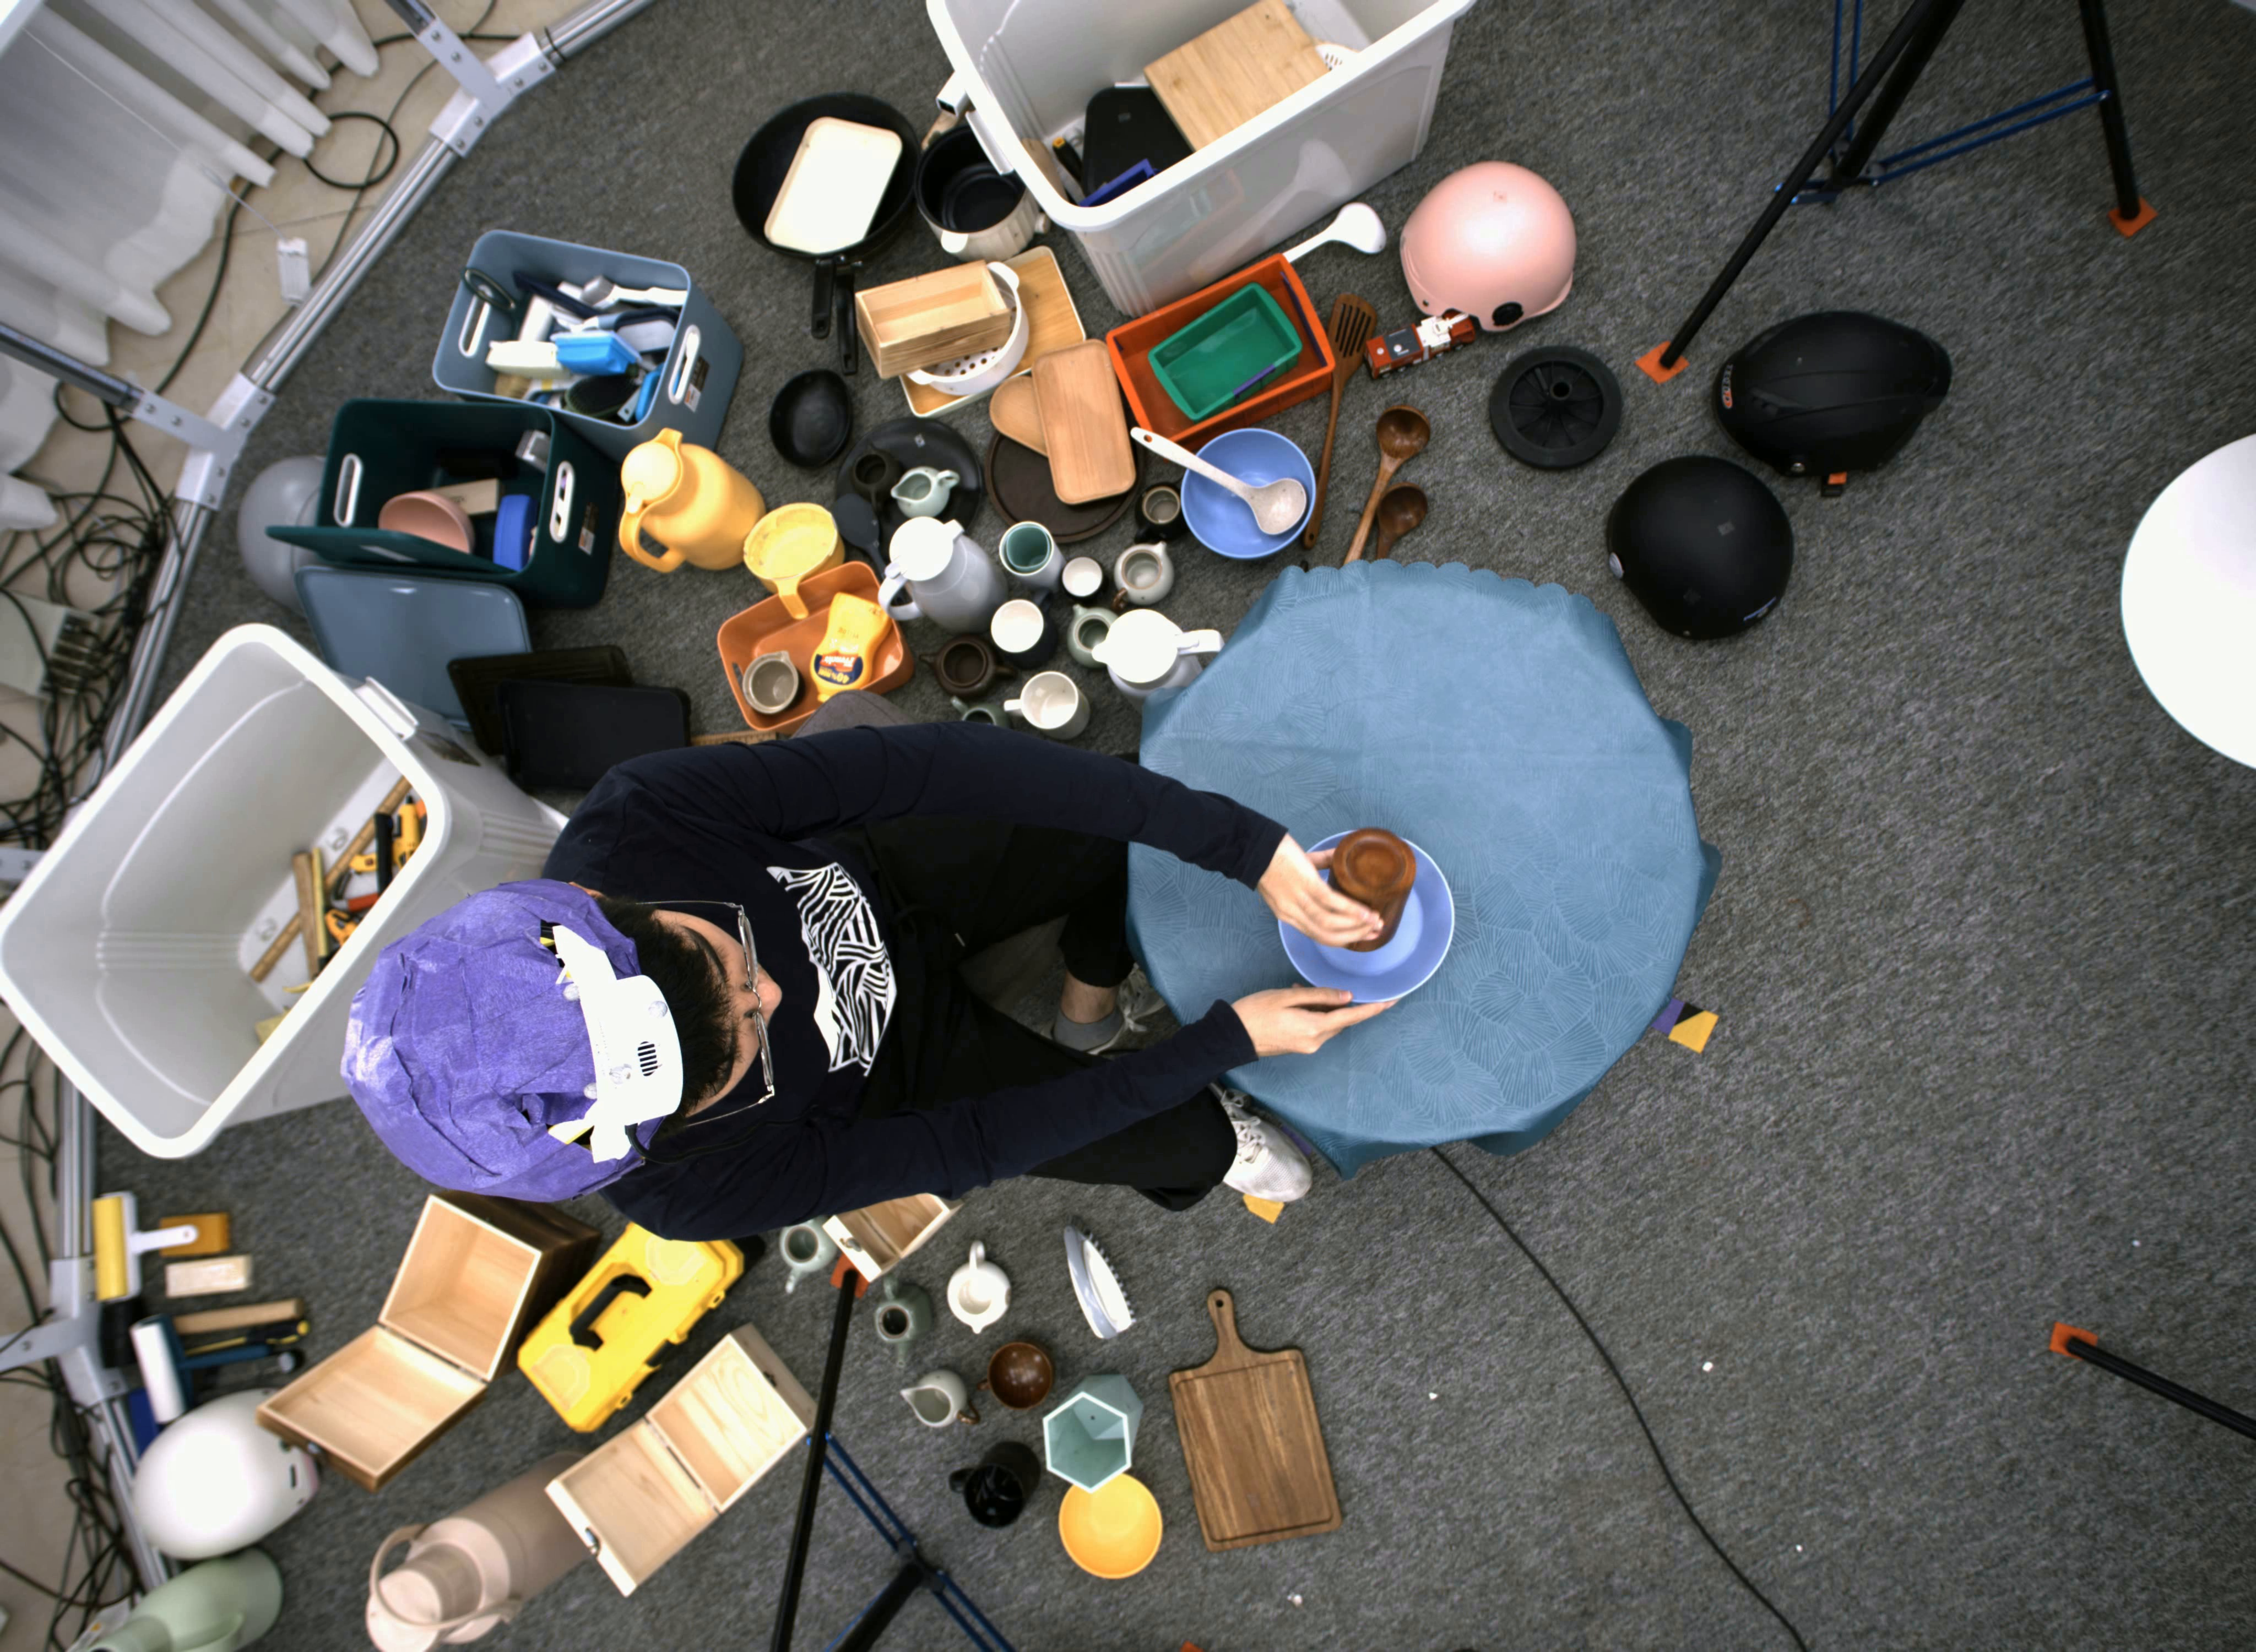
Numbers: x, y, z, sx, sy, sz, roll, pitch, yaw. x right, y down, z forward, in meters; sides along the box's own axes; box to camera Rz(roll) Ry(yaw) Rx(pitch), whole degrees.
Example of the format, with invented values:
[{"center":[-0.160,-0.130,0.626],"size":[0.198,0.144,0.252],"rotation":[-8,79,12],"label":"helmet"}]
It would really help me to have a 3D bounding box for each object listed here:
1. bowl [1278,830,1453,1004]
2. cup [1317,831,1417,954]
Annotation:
[{"center":[0.244,0.094,1.427],"size":[0.177,0.070,0.175],"rotation":[-1,86,11],"label":"bowl"},{"center":[0.233,0.064,1.342],"size":[0.088,0.121,0.086],"rotation":[-1,64,1],"label":"cup"}]
